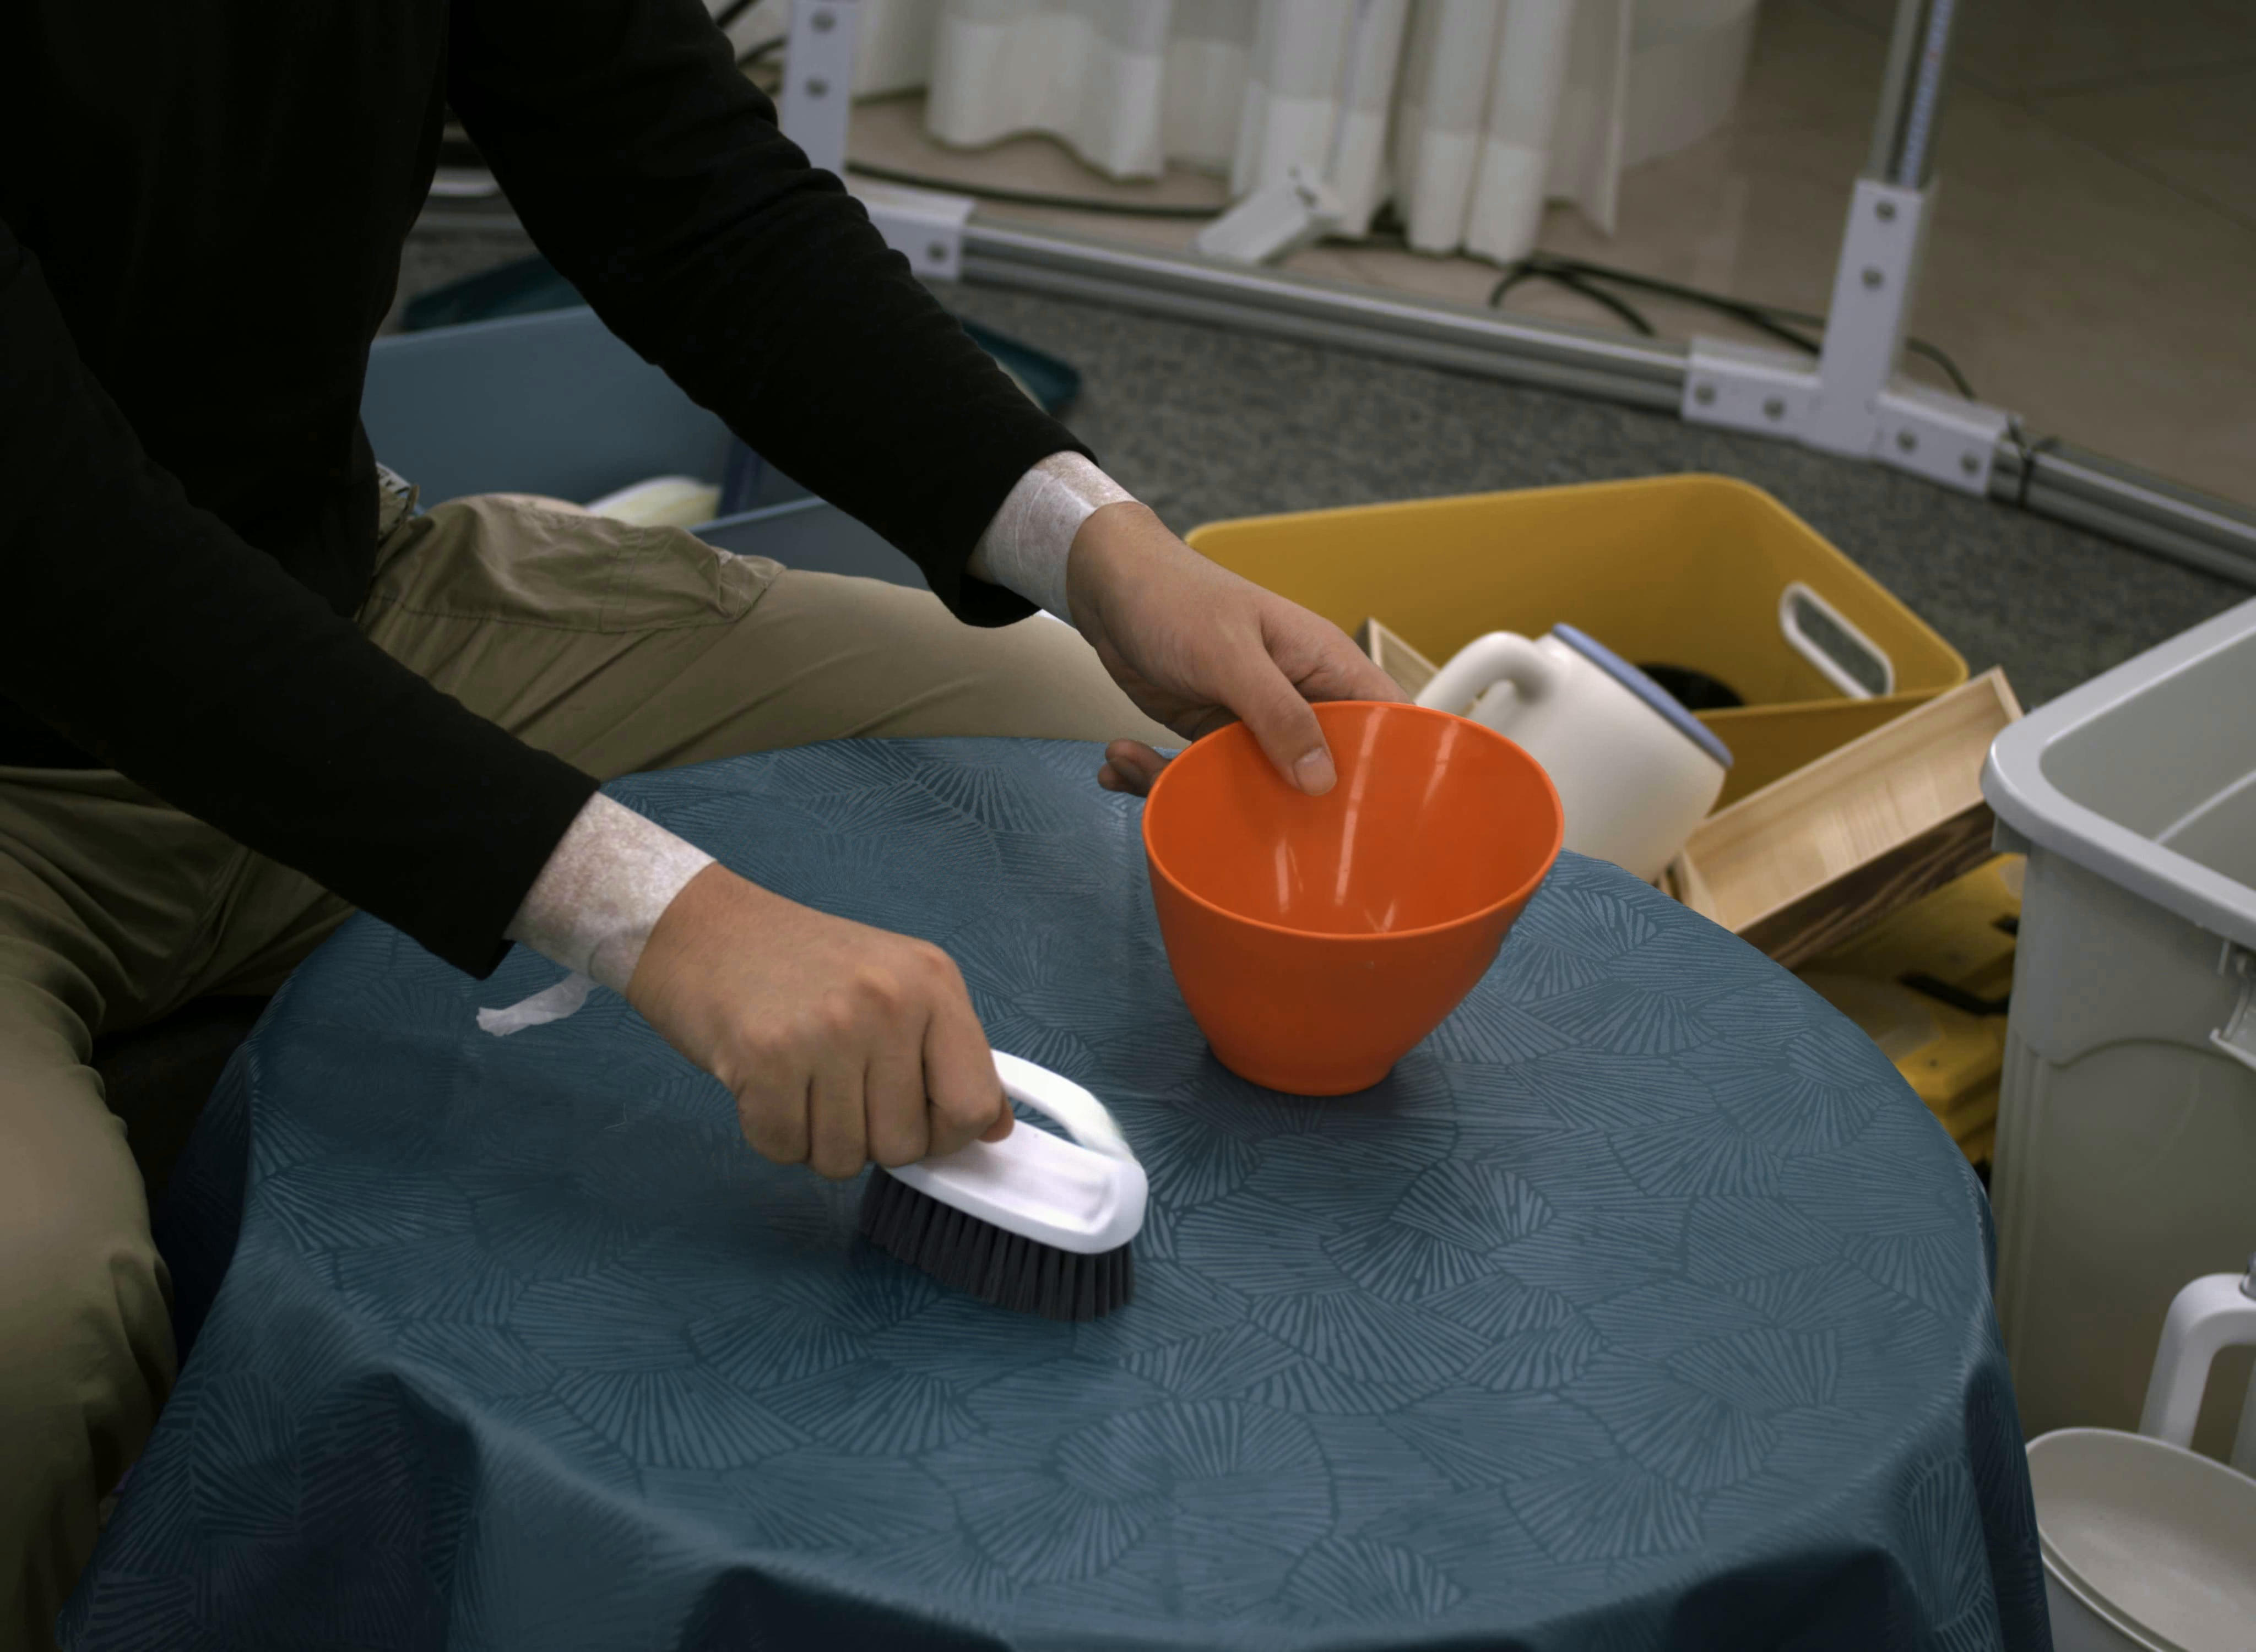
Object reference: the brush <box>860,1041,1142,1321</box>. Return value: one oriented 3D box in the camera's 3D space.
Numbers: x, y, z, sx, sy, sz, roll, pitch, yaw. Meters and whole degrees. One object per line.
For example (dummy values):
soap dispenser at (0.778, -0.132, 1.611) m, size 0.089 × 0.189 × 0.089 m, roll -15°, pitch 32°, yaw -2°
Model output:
brush at (-0.040, 0.109, 1.738) m, size 0.100 × 0.072 × 0.050 m, roll 23°, pitch 33°, yaw 27°

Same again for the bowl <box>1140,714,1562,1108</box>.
bowl at (0.075, 0.036, 1.885) m, size 0.147 × 0.104 × 0.149 m, roll 4°, pitch 26°, yaw -2°
